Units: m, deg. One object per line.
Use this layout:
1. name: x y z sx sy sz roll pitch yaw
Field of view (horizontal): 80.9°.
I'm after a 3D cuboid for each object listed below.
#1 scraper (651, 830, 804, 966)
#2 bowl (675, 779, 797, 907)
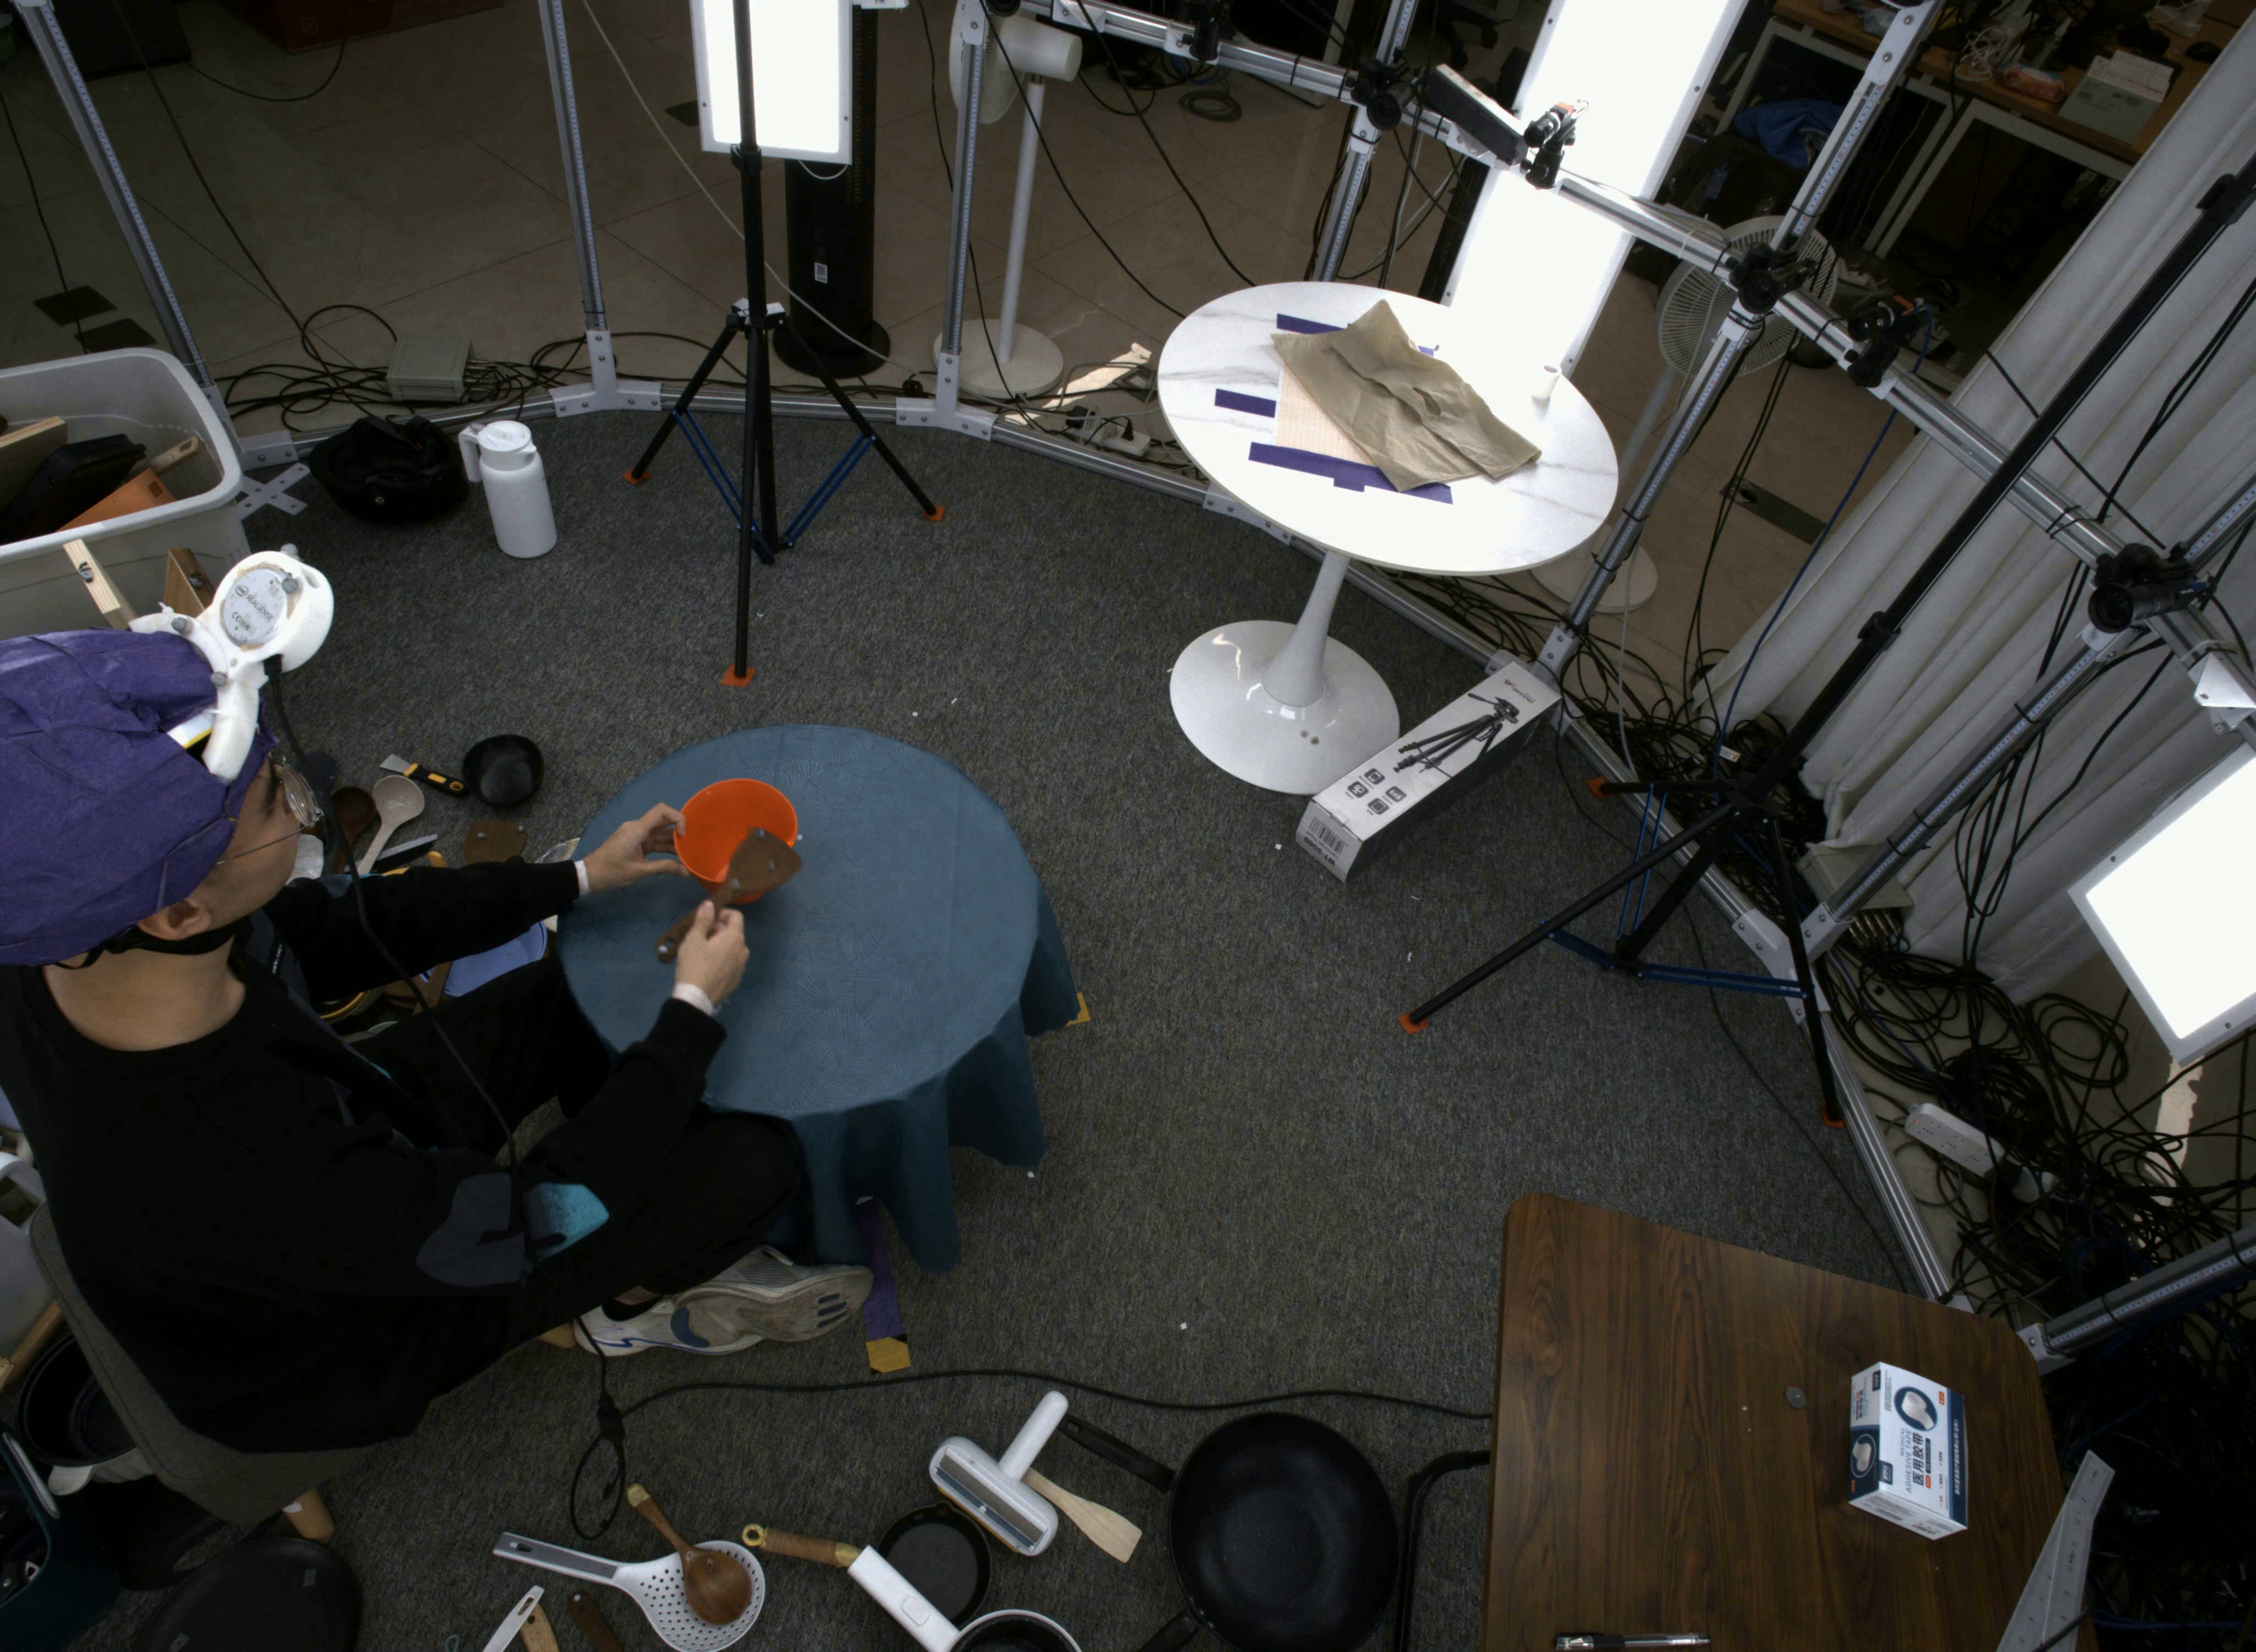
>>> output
1. scraper: -0.464 0.084 1.480 0.075 0.011 0.211 41 52 1
2. bowl: -0.482 0.031 1.607 0.147 0.107 0.145 5 50 -4
